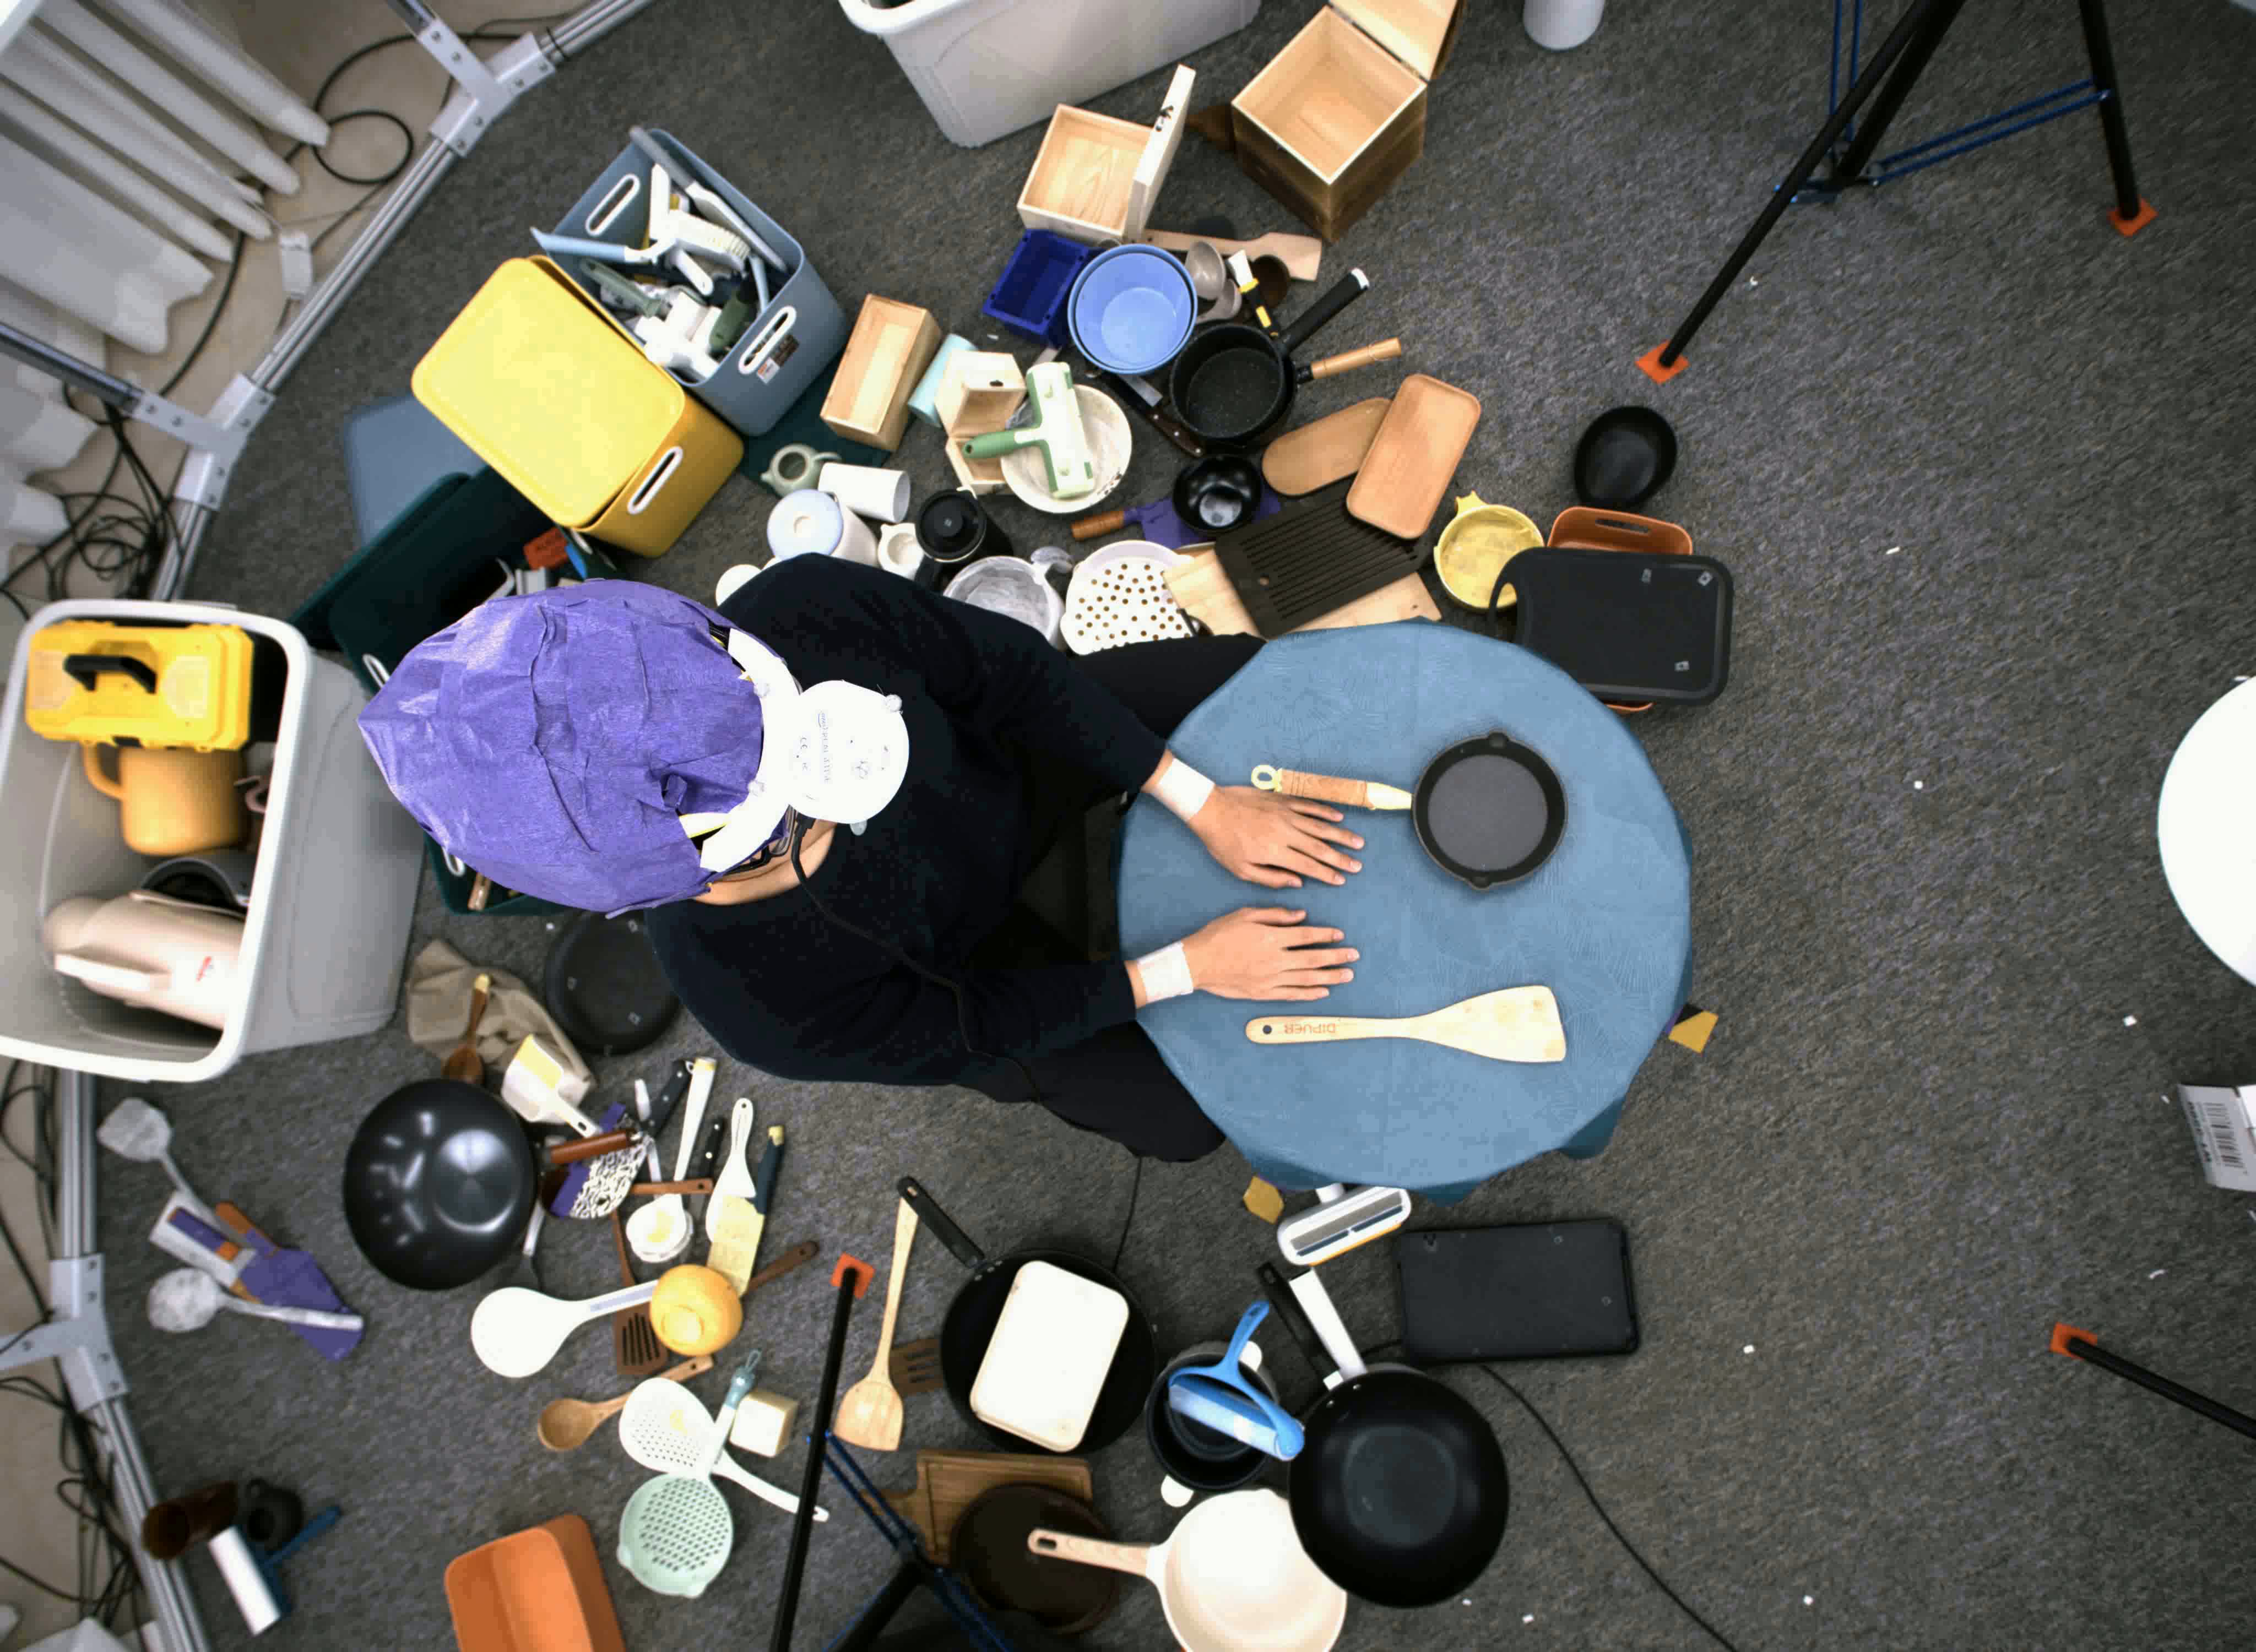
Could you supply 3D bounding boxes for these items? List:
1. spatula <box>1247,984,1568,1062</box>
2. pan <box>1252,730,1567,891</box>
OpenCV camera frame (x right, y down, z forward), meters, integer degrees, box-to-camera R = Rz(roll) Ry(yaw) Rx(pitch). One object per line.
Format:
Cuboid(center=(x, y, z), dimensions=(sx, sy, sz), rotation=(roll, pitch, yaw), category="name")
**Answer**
Cuboid(center=(0.288, 0.207, 1.441), dimensions=(0.329, 0.016, 0.079), rotation=(-3, 85, 10), category="spatula")
Cuboid(center=(0.291, -0.031, 1.436), dimensions=(0.325, 0.049, 0.168), rotation=(10, 88, 10), category="pan")
